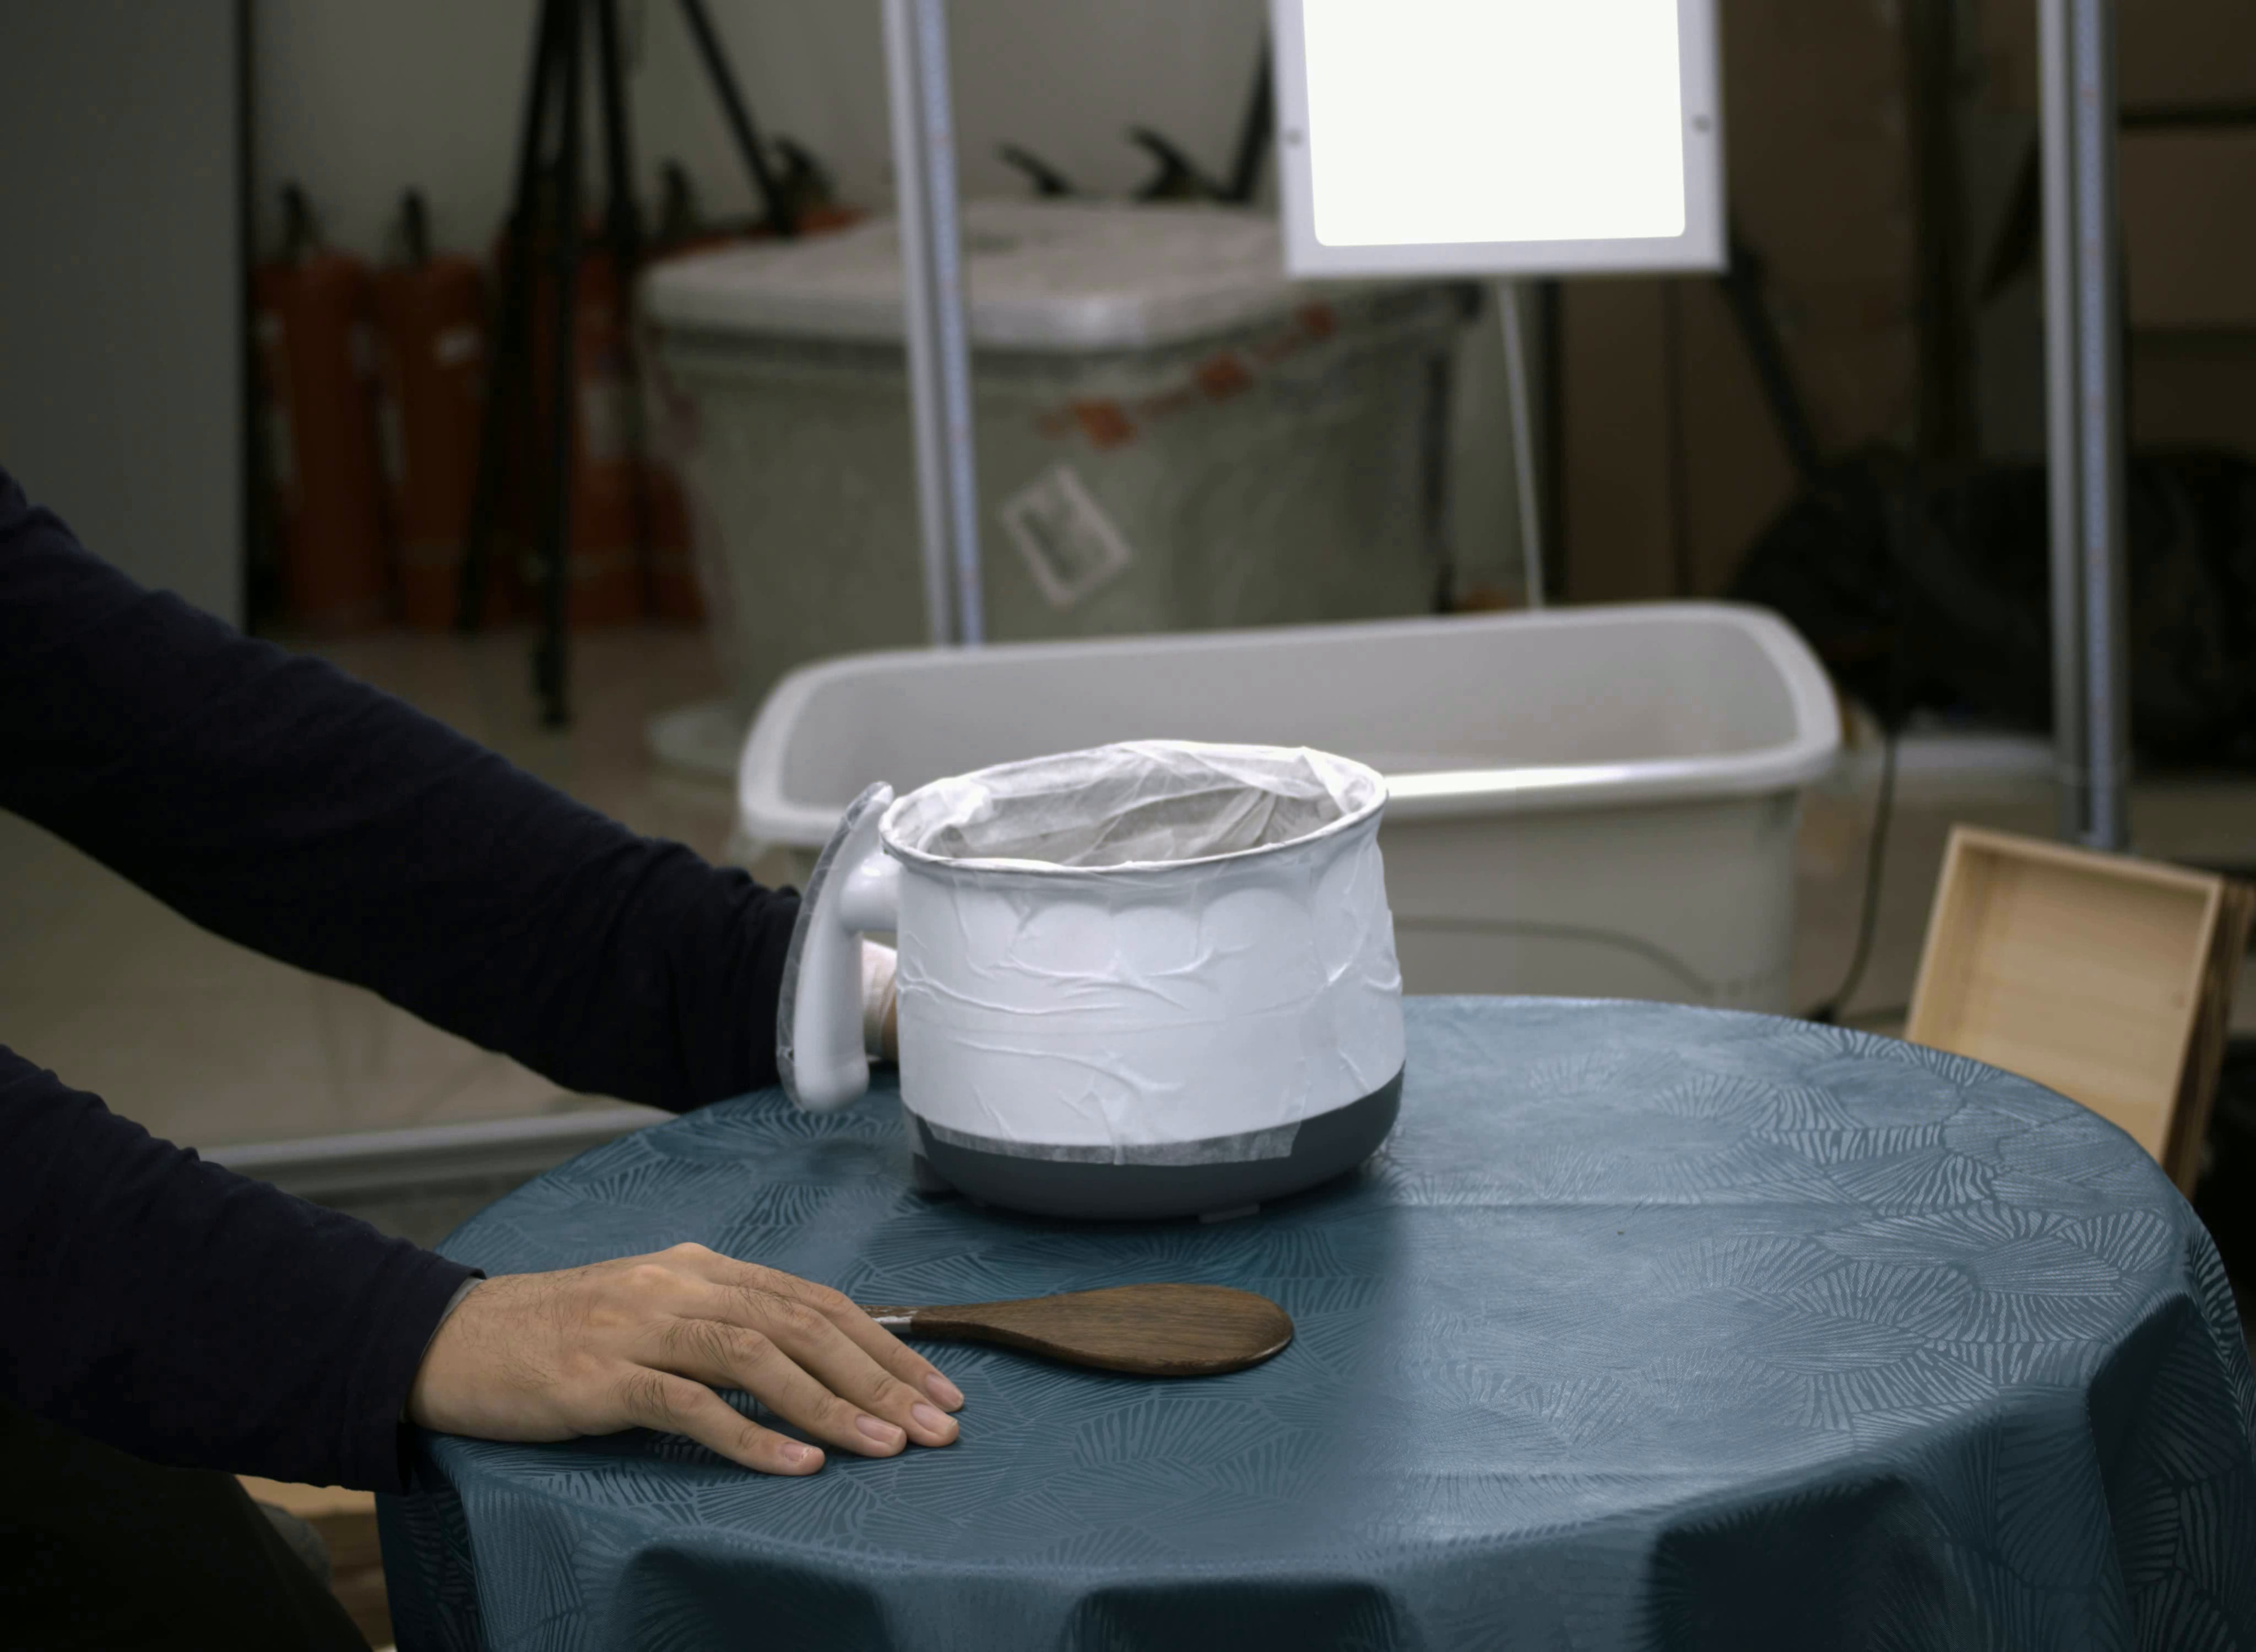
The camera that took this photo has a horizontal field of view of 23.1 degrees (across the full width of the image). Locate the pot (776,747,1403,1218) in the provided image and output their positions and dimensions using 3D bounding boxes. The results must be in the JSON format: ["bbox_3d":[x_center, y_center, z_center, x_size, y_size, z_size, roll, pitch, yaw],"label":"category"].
[{"bbox_3d":[-0.018,0.051,1.923,0.237,0.137,0.175,3,13,25],"label":"pot"}]

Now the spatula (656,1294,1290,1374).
[{"bbox_3d":[-0.051,0.162,1.769,0.219,0.009,0.070,-1,13,22],"label":"spatula"}]
